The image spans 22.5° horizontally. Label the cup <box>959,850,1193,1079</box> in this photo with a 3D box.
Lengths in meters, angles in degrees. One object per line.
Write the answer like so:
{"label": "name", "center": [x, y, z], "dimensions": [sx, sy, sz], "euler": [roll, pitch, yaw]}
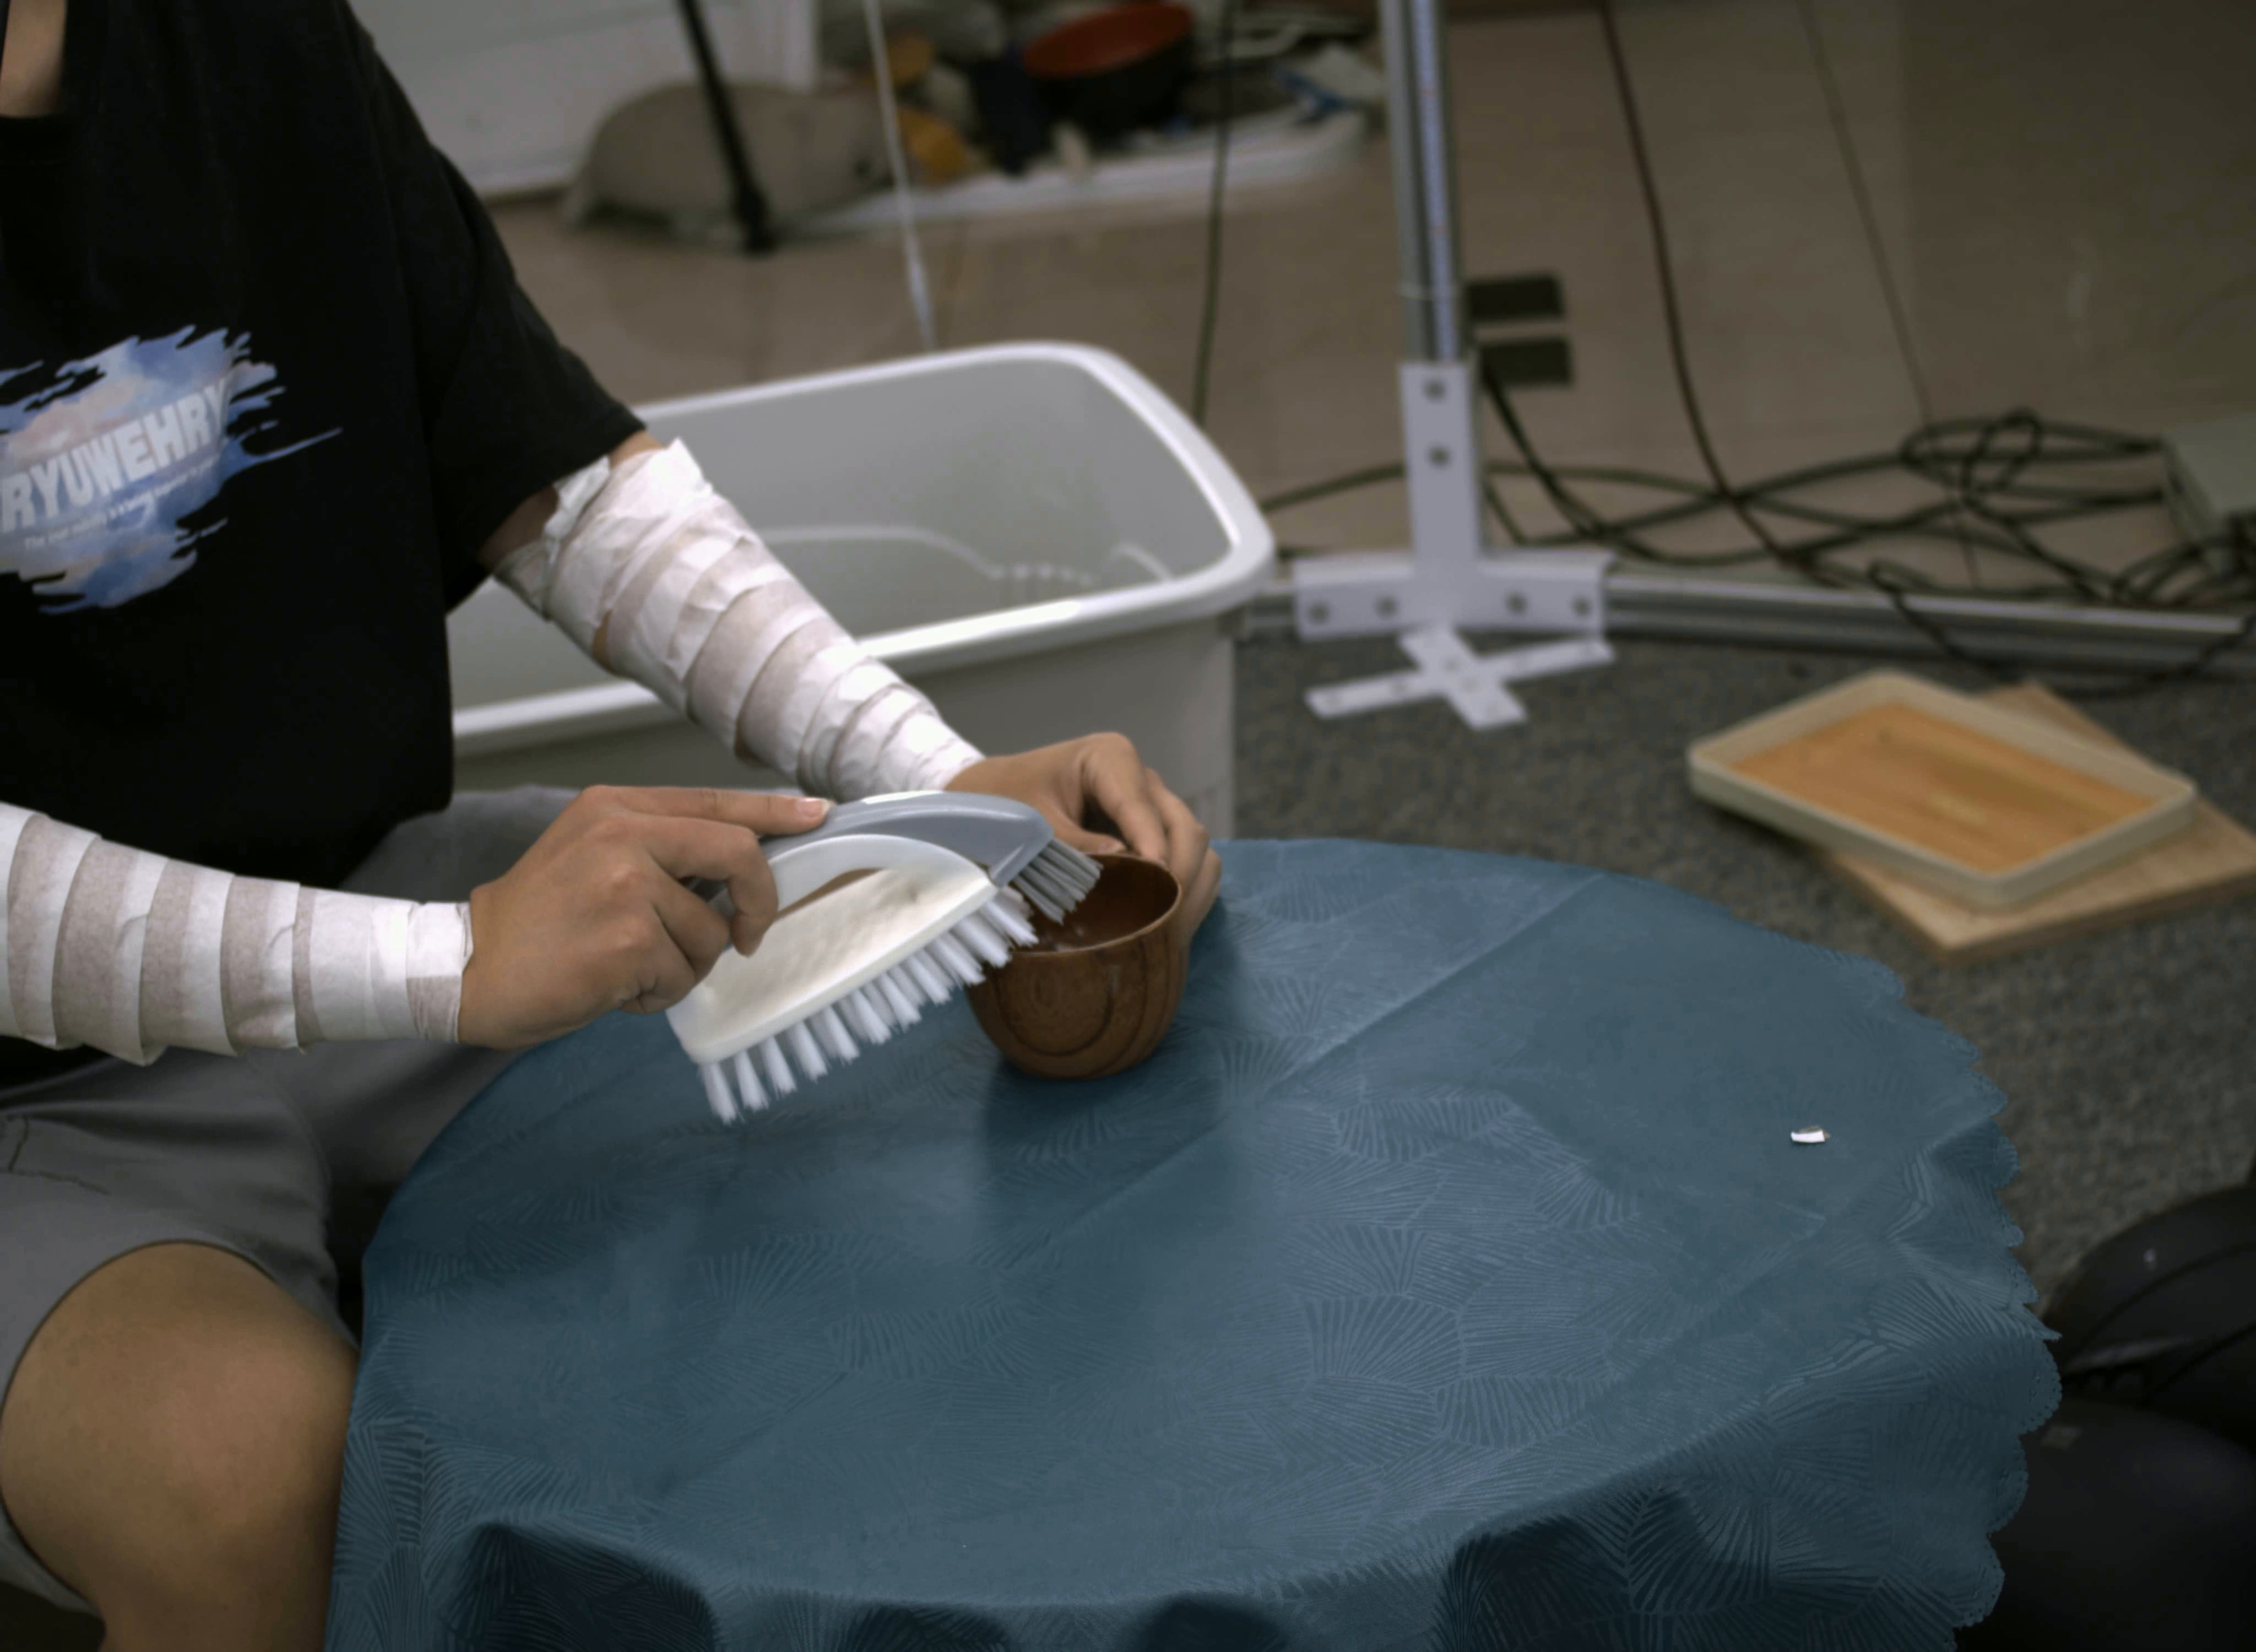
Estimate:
{"label": "cup", "center": [-0.015, 0.053, 2.257], "dimensions": [0.096, 0.069, 0.118], "euler": [1, 25, 22]}

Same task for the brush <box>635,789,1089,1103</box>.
{"label": "brush", "center": [-0.108, 0.028, 2.188], "dimensions": [0.175, 0.096, 0.060], "euler": [-26, 39, 4]}
